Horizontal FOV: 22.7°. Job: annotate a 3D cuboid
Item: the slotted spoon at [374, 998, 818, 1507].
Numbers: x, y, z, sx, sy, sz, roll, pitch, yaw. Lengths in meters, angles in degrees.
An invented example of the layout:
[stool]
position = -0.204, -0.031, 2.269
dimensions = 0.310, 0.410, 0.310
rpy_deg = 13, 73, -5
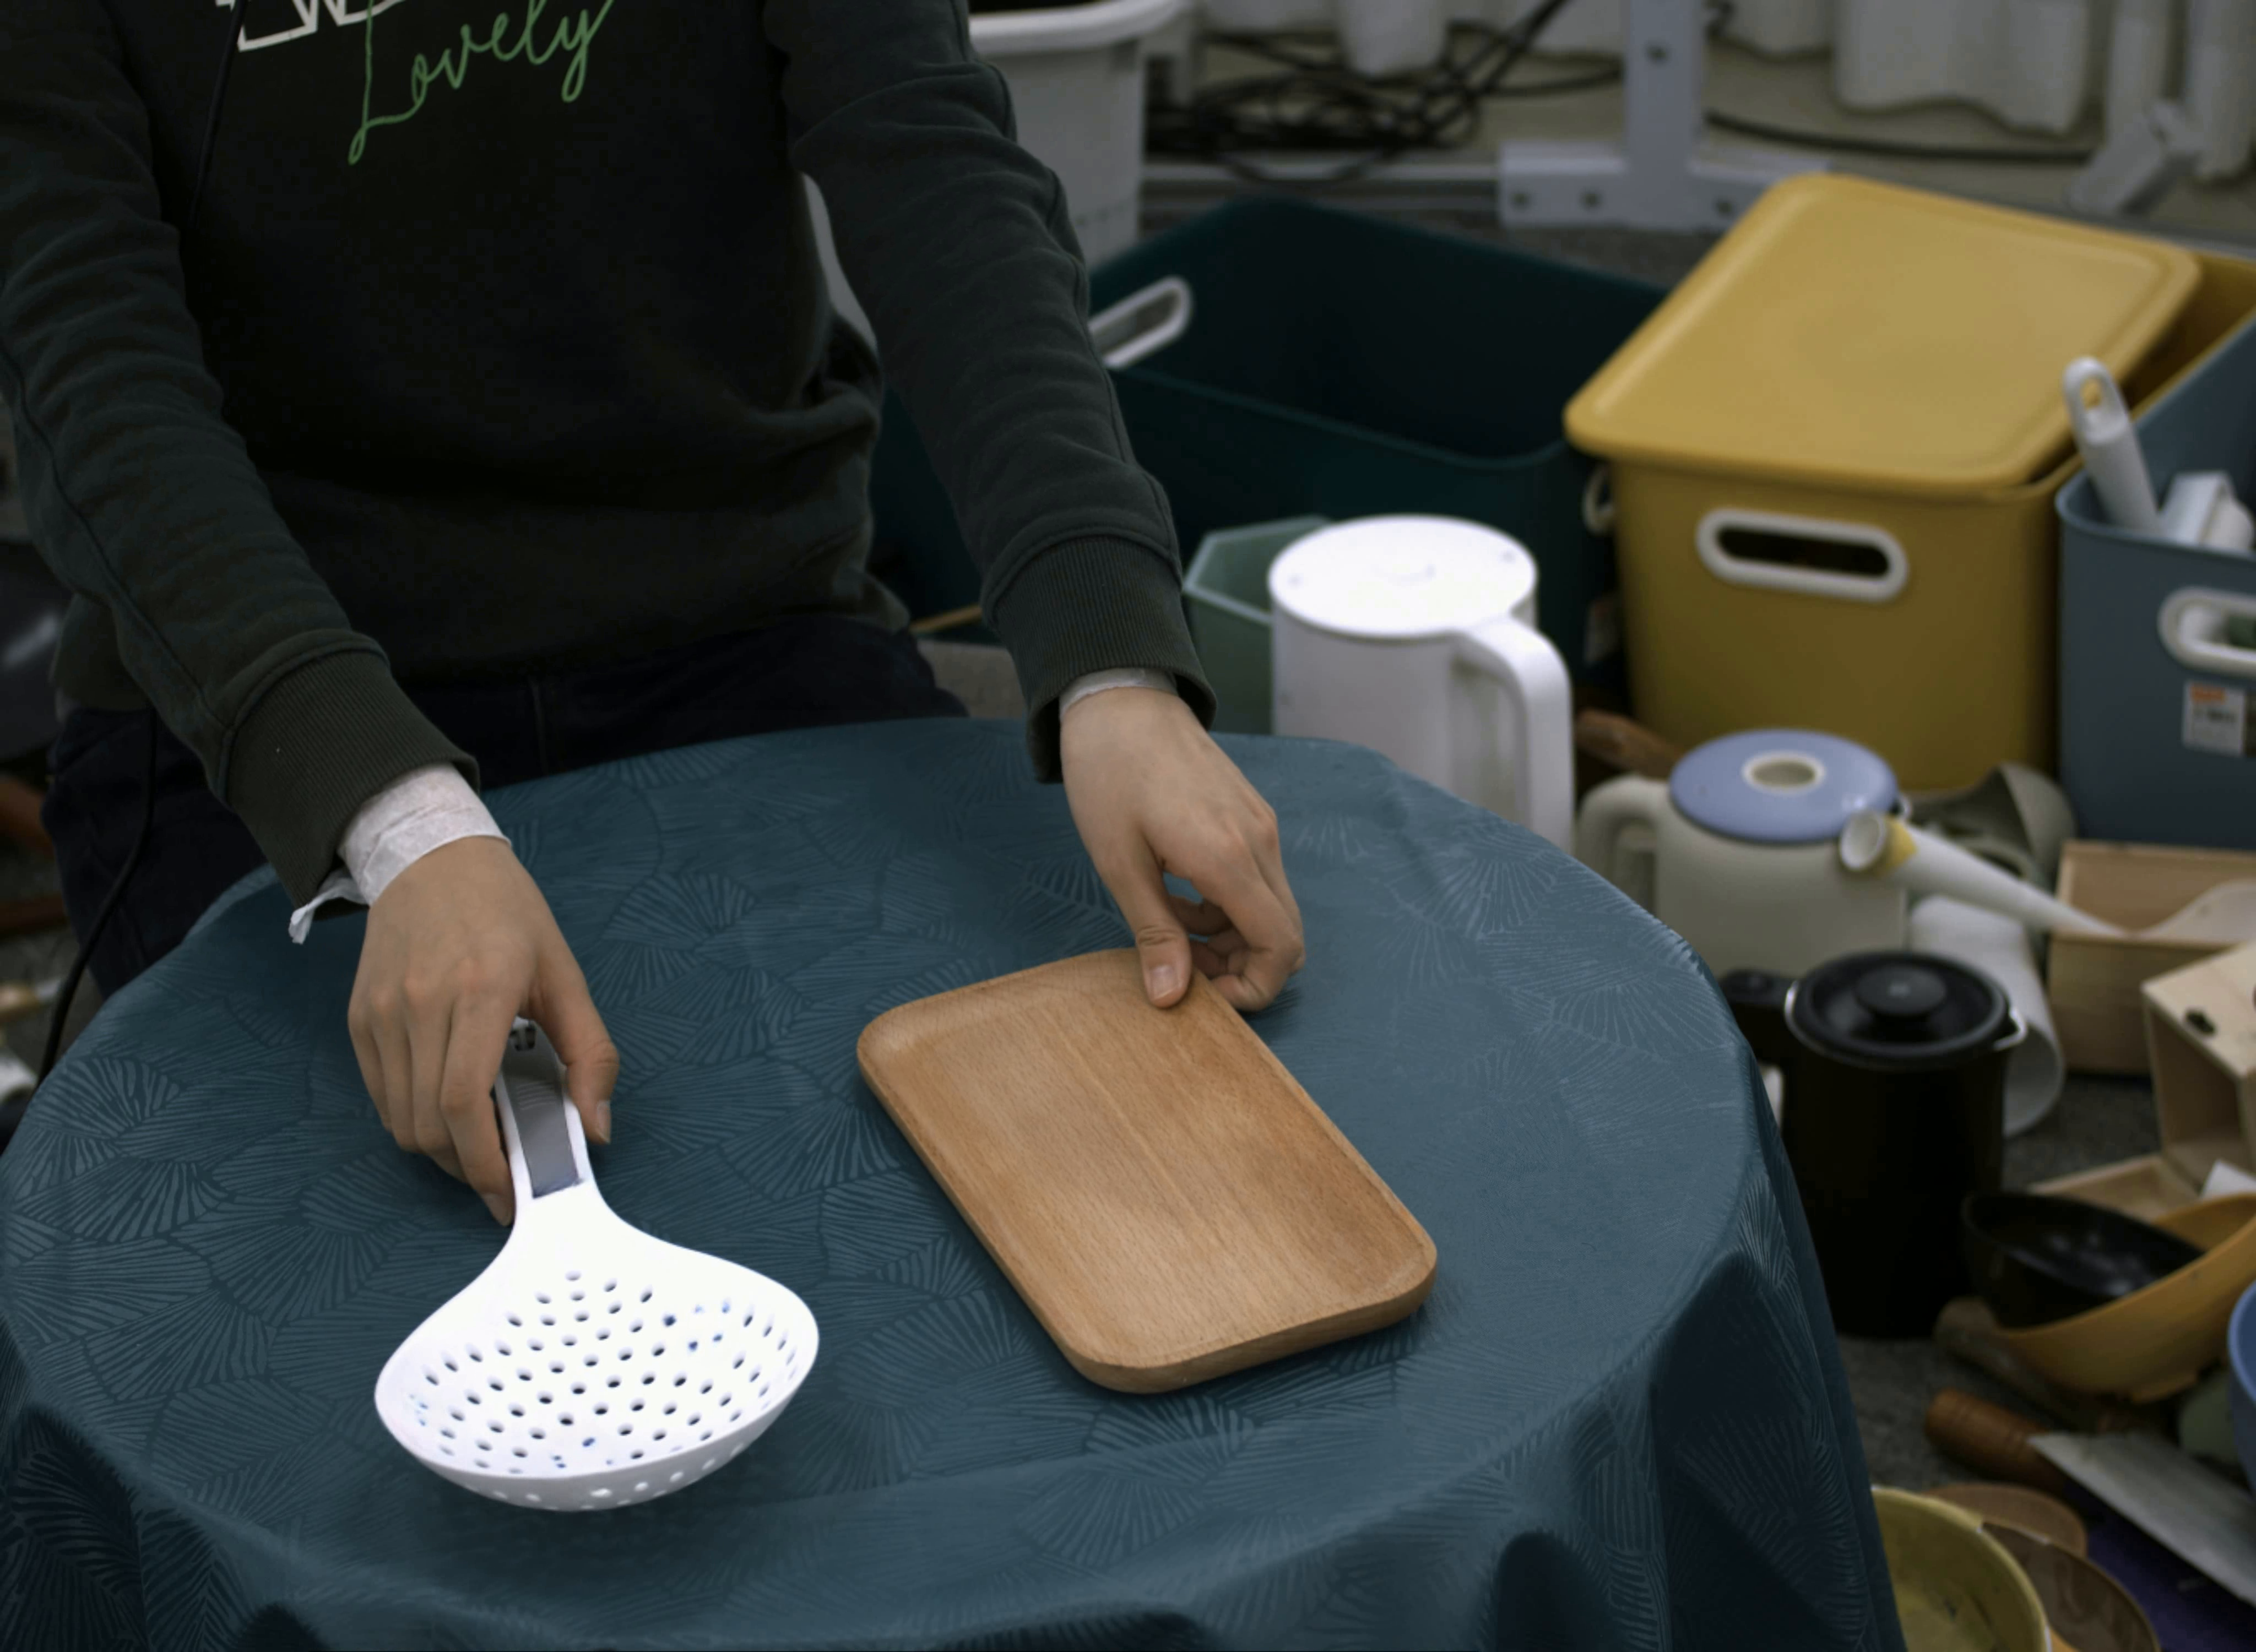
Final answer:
[slotted spoon]
position = -0.181, 0.131, 1.812
dimensions = 0.136, 0.045, 0.354
rpy_deg = -8, 27, -8

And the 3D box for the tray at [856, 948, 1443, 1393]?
[tray]
position = 0.003, 0.111, 1.860
dimensions = 0.131, 0.022, 0.252
rpy_deg = -12, 28, -18
